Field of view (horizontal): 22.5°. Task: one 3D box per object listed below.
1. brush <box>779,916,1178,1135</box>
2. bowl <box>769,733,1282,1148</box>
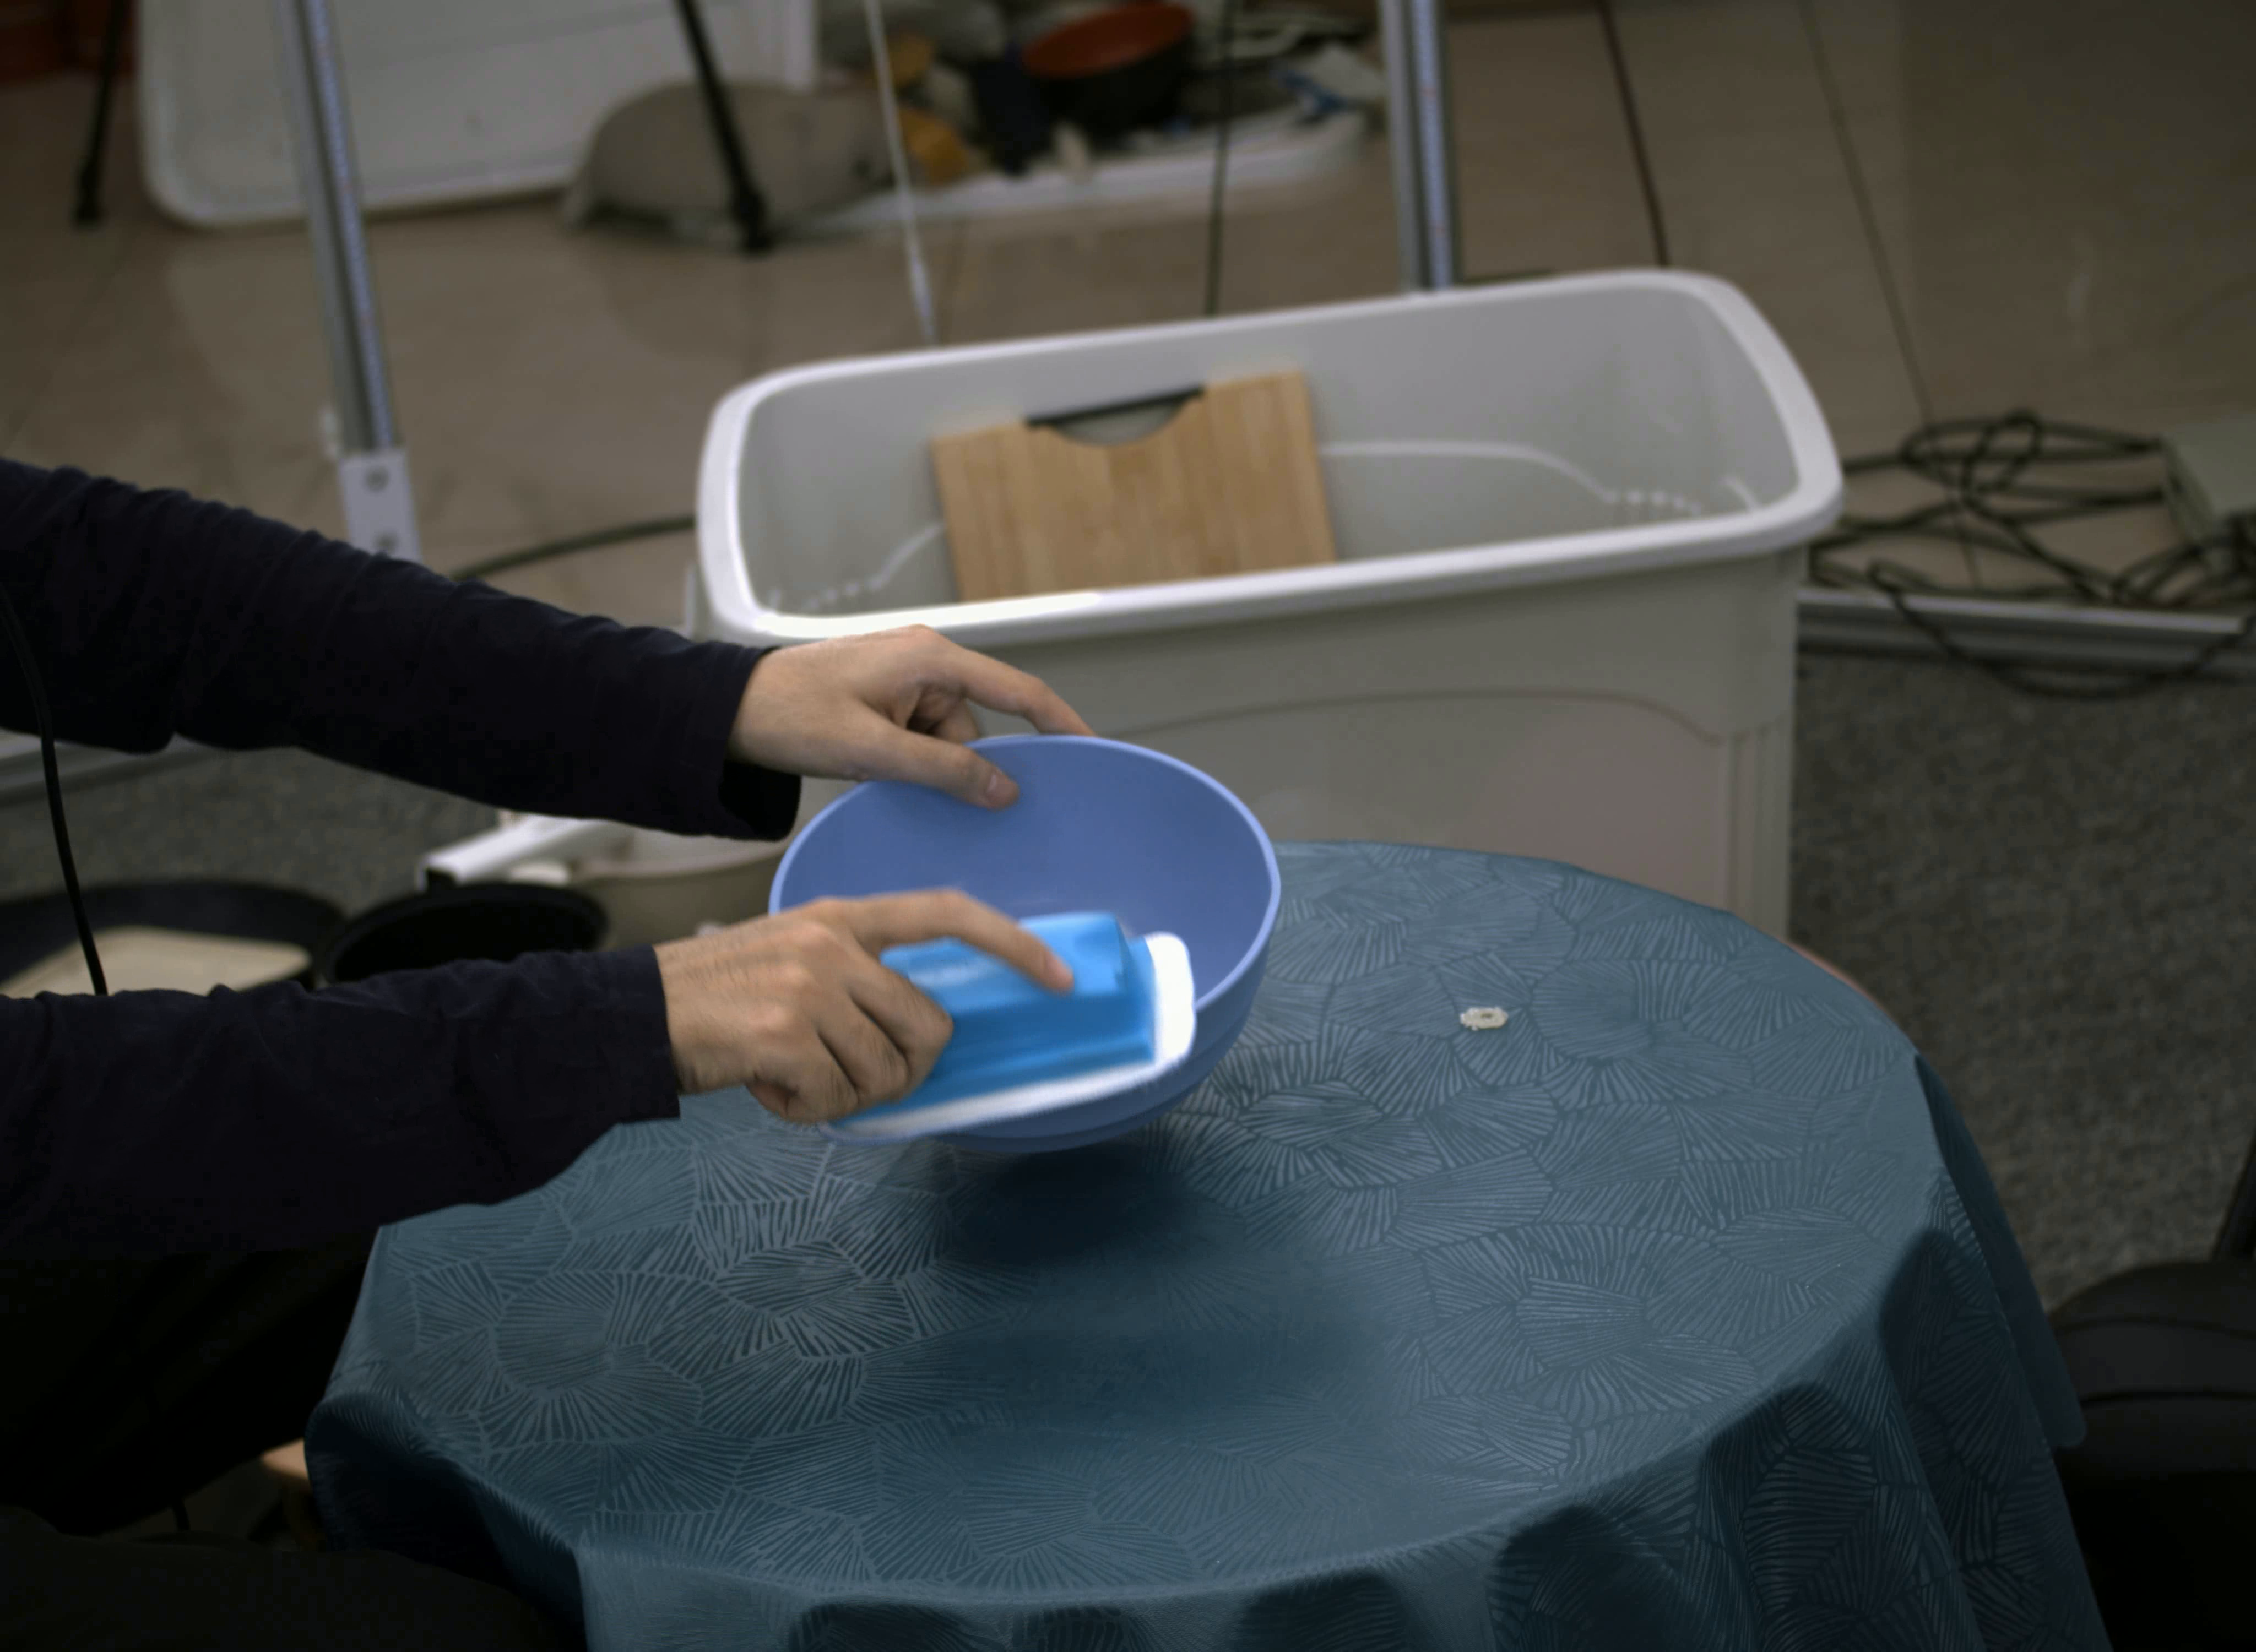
[{"bbox_3d":[-0.056,0.065,2.019,0.144,0.057,0.082,-7,38,10],"label":"brush"},{"bbox_3d":[-0.038,0.060,2.189,0.196,0.097,0.193,-1,38,1],"label":"bowl"}]
